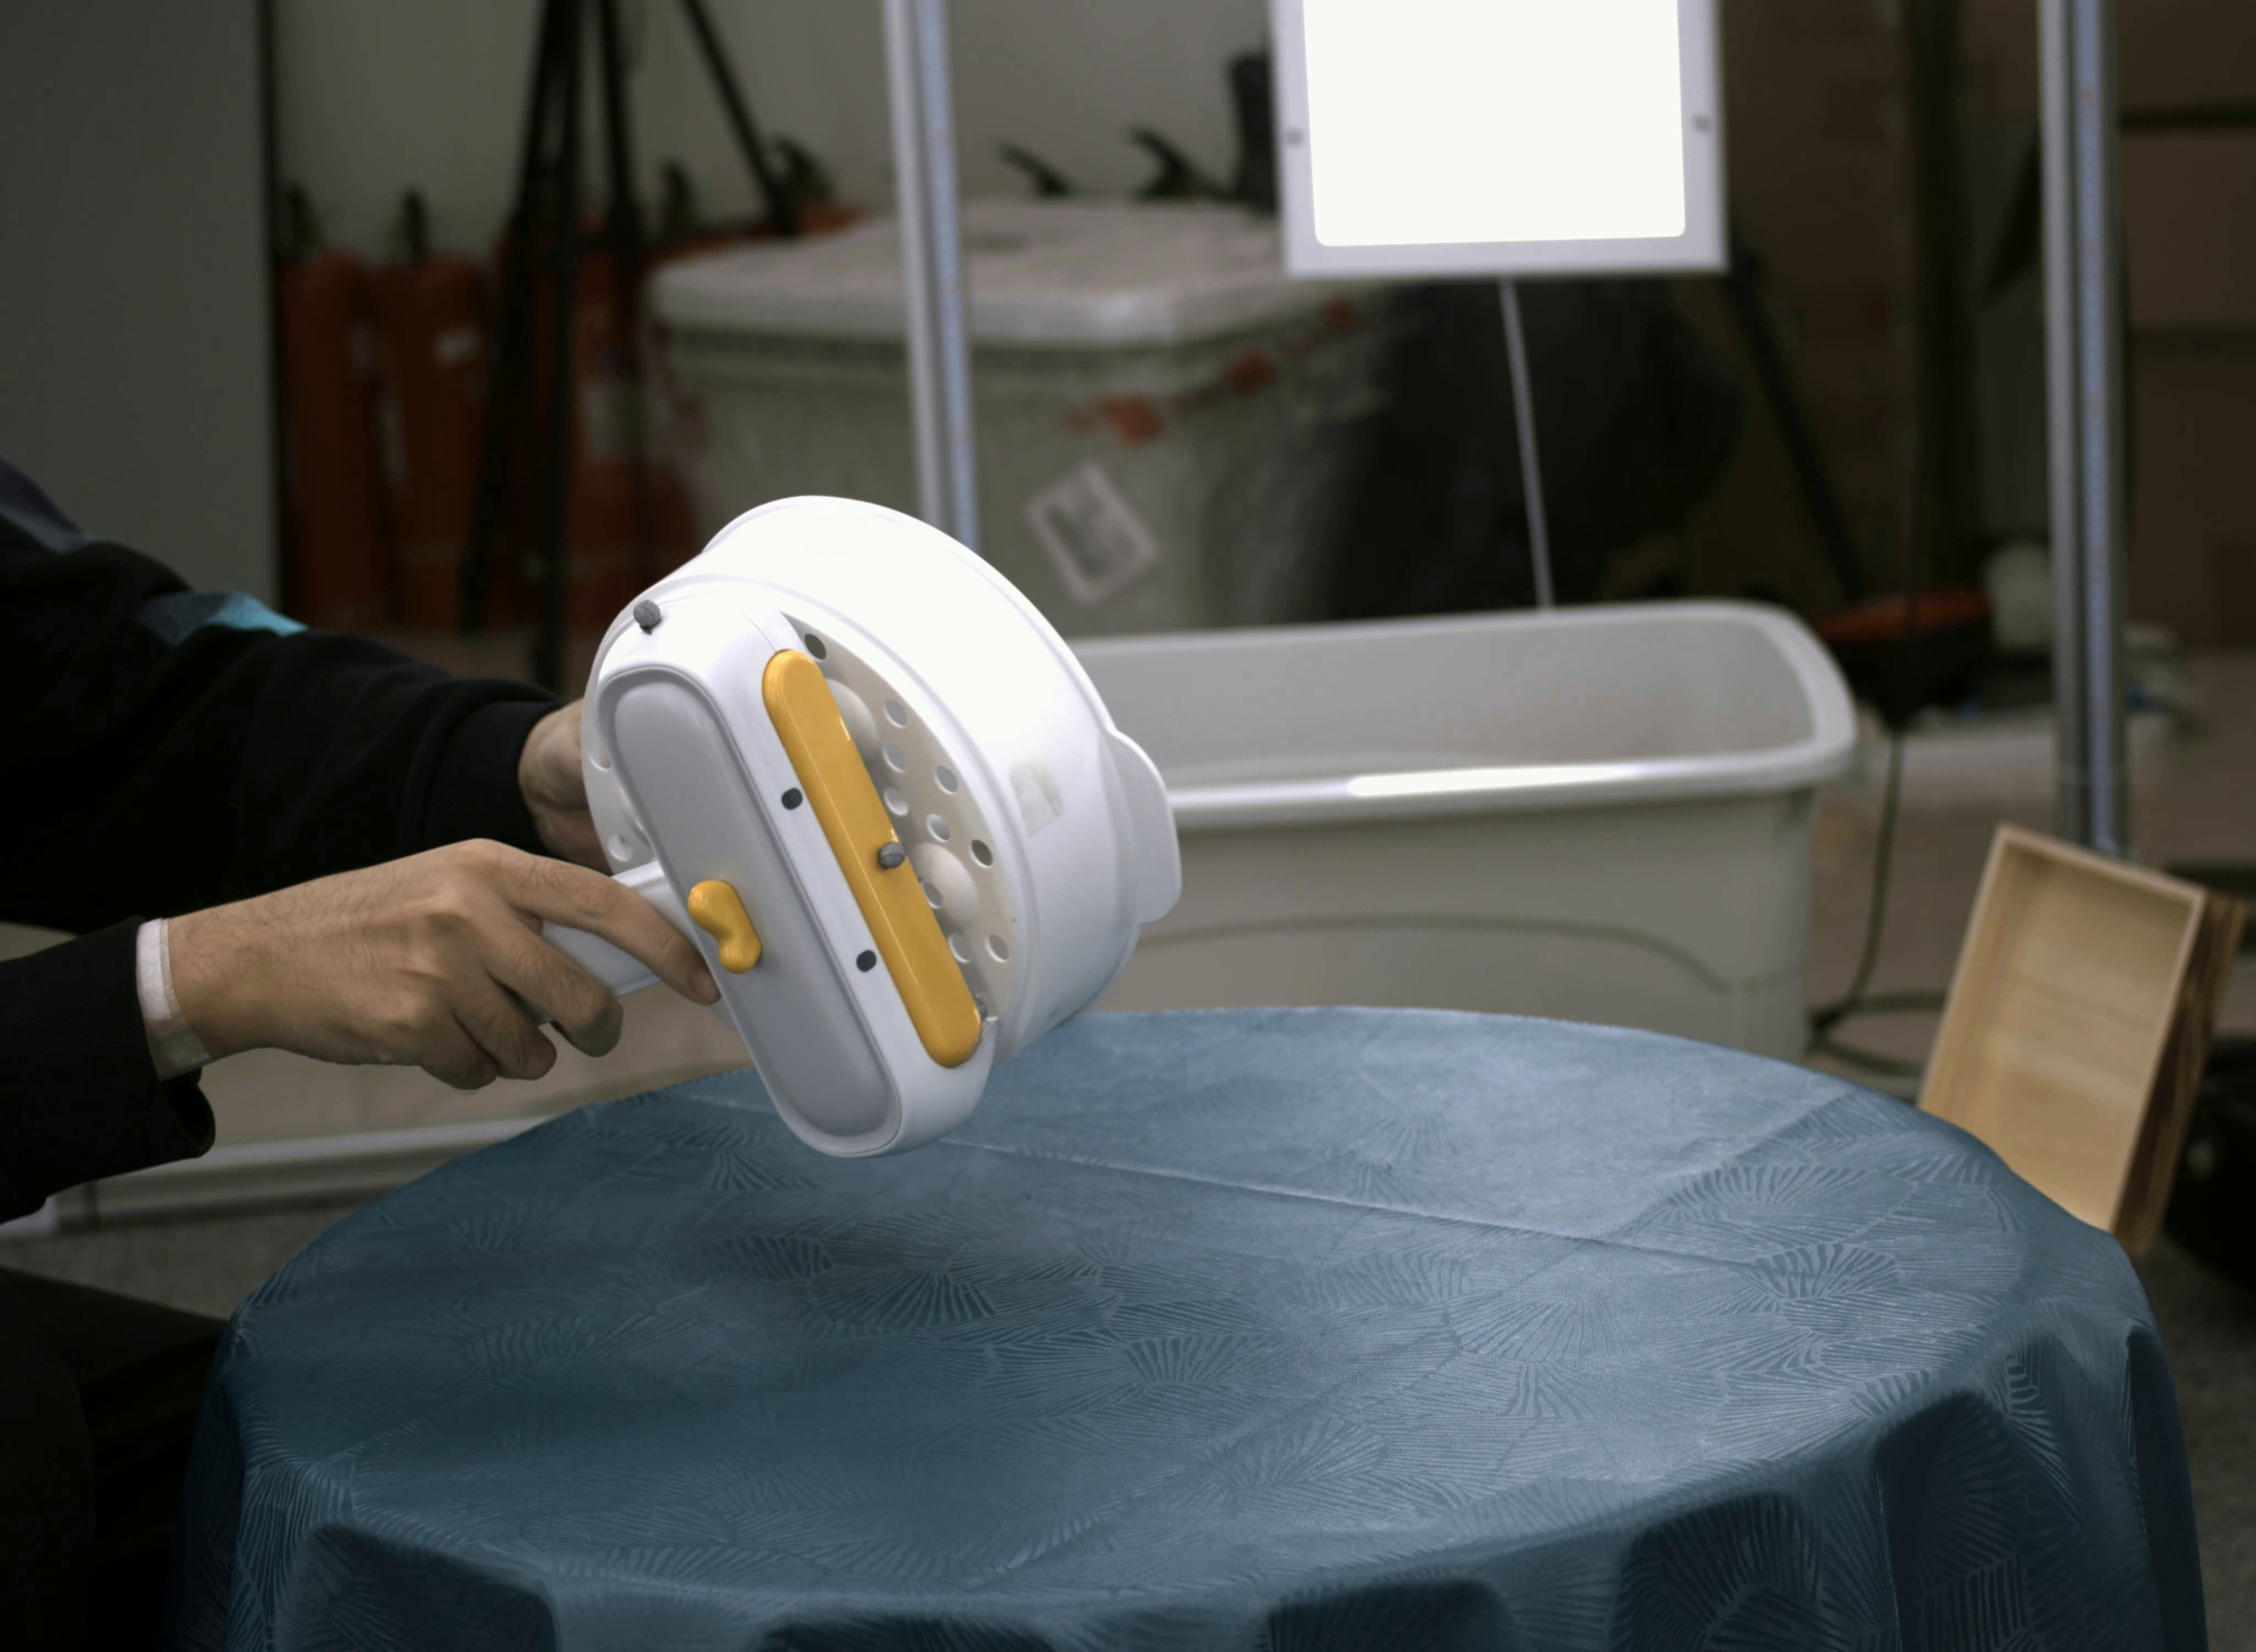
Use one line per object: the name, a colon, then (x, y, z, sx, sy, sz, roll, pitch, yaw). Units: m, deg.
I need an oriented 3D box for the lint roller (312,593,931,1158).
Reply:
lint roller: (-0.178, 0.039, 1.794, 0.196, 0.192, 0.073, -21, 16, 29)

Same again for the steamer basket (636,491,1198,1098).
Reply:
steamer basket: (-0.086, -0.006, 1.799, 0.235, 0.202, 0.068, 14, 37, 37)
